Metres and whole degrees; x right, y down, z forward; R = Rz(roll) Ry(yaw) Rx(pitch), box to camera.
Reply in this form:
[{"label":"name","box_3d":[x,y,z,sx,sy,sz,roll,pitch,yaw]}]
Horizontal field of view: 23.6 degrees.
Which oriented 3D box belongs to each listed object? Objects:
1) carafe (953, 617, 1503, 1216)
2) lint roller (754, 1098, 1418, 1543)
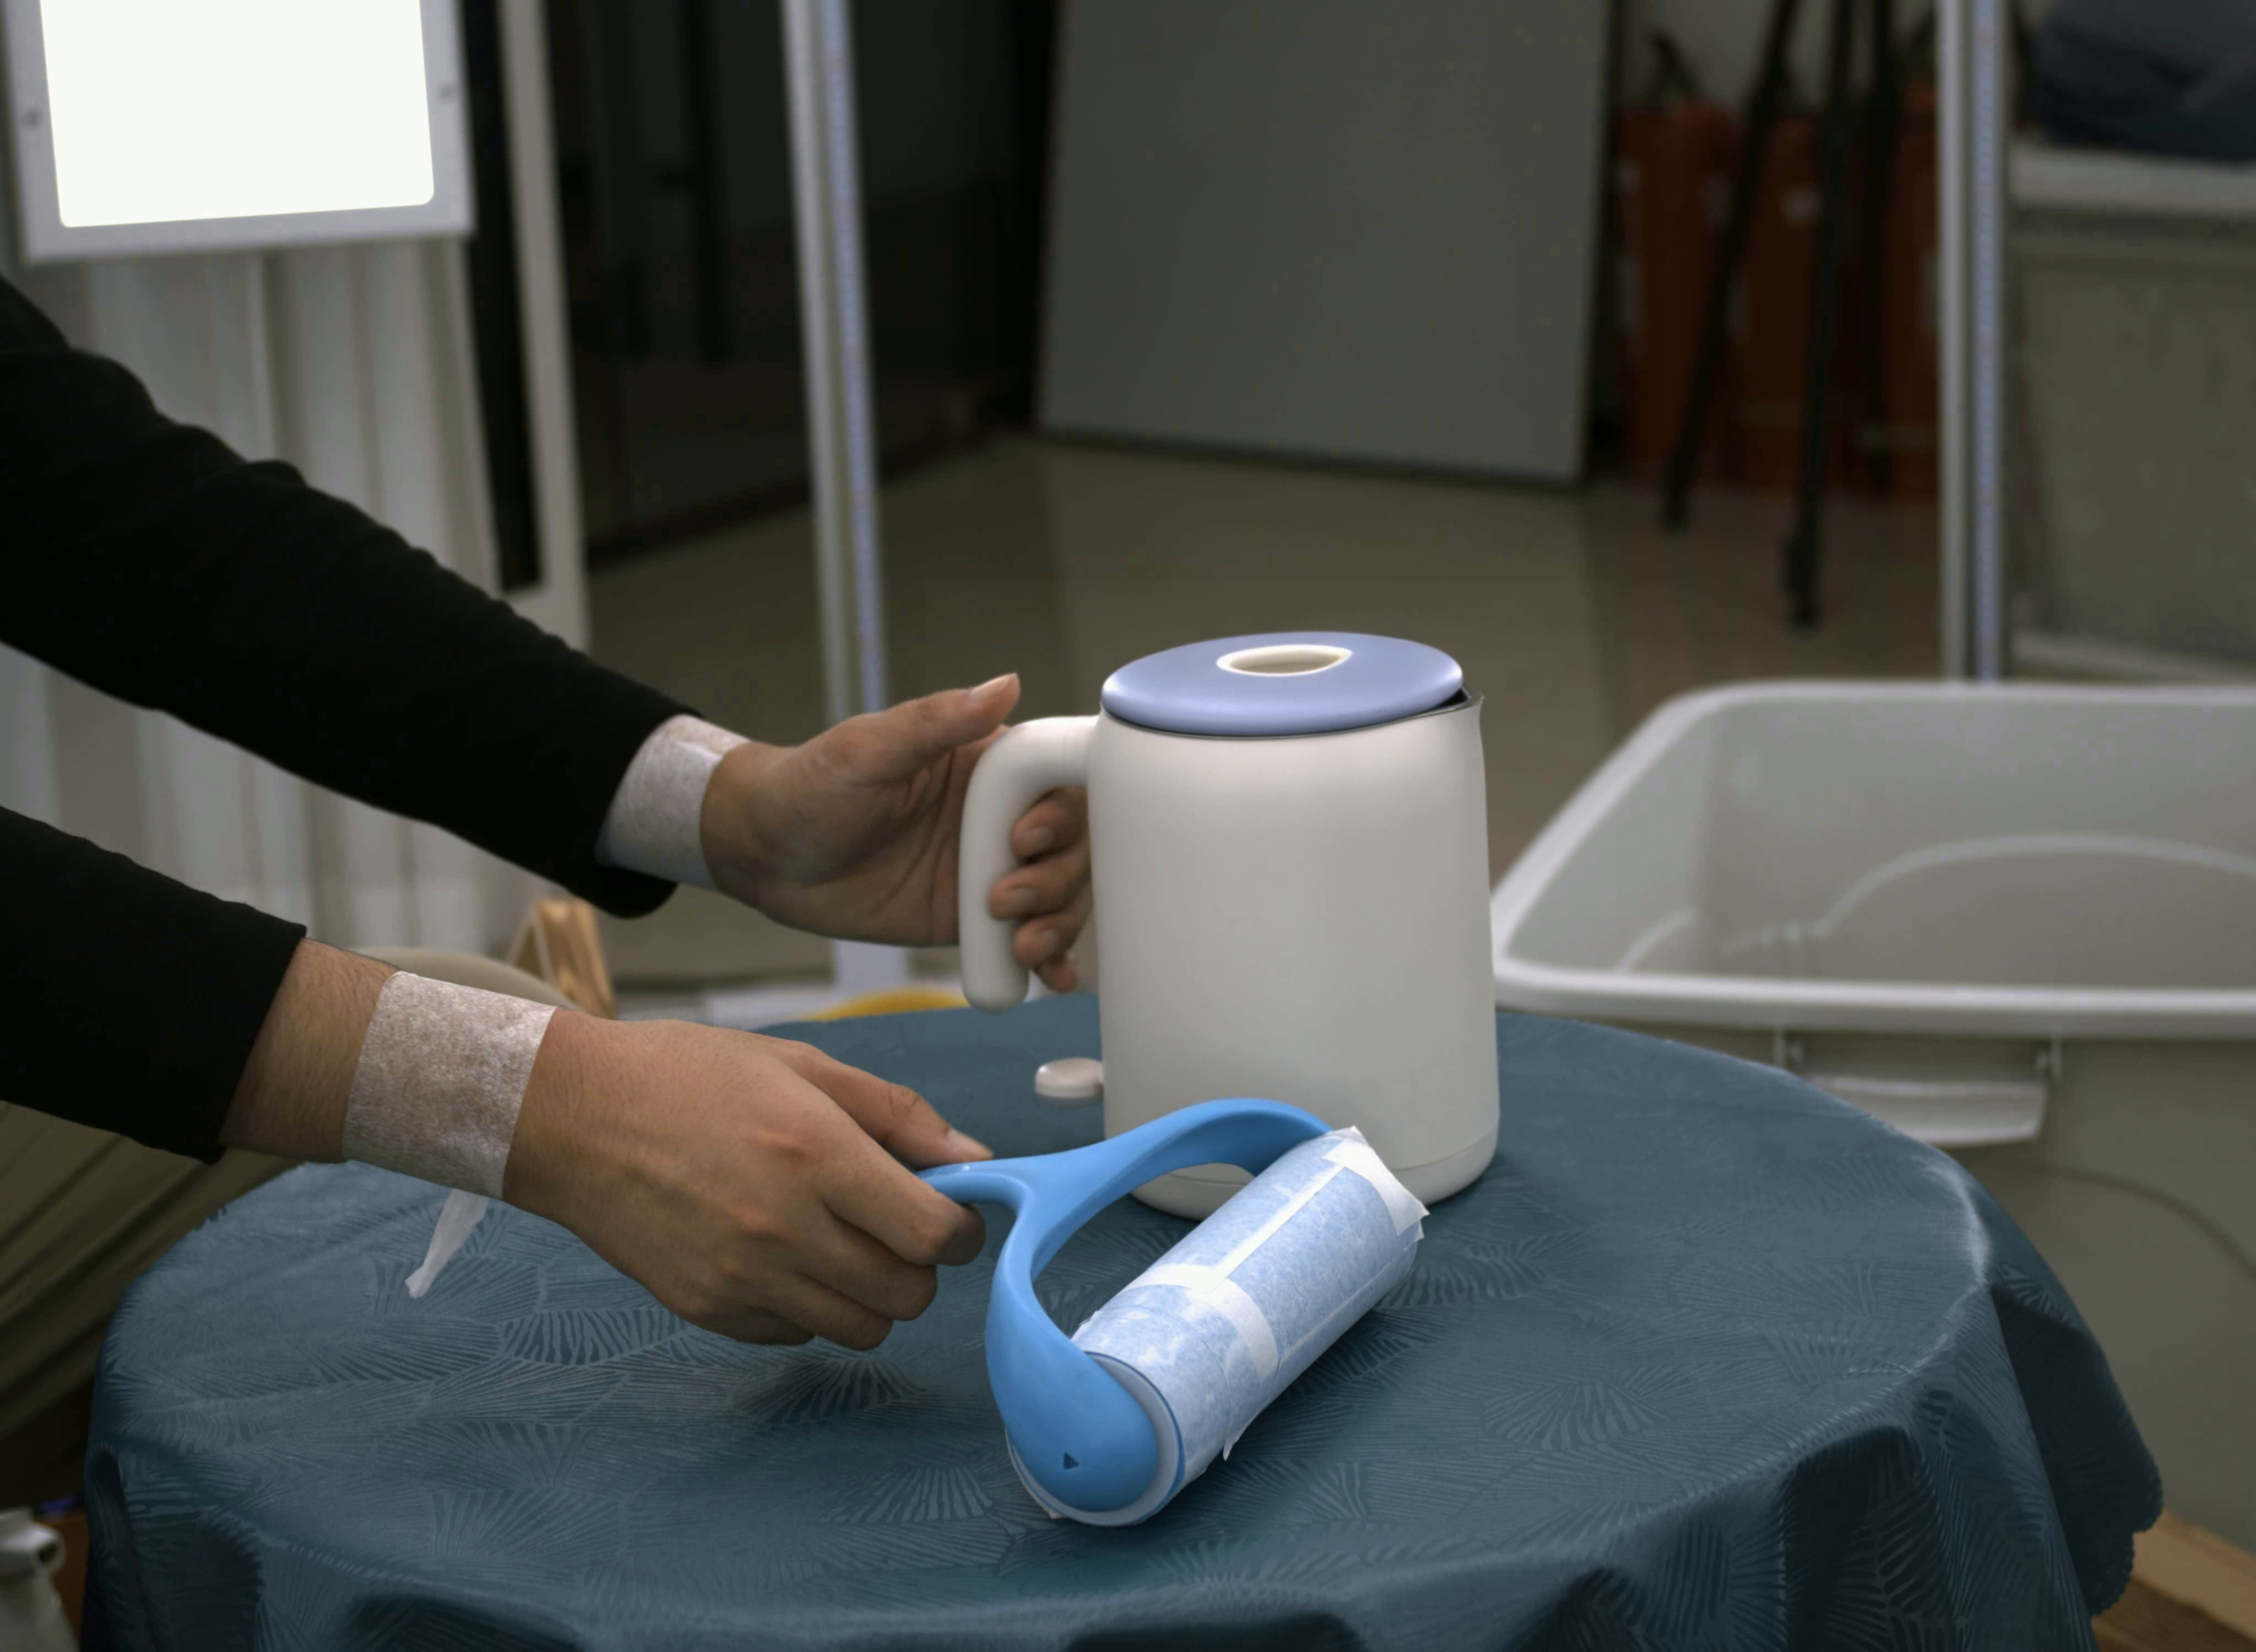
[{"label":"carafe","box_3d":[0.031,0.031,1.765,0.191,0.184,0.131,-1,13,22]},{"label":"lint roller","box_3d":[-0.027,0.129,1.579,0.180,0.068,0.226,16,23,18]}]
